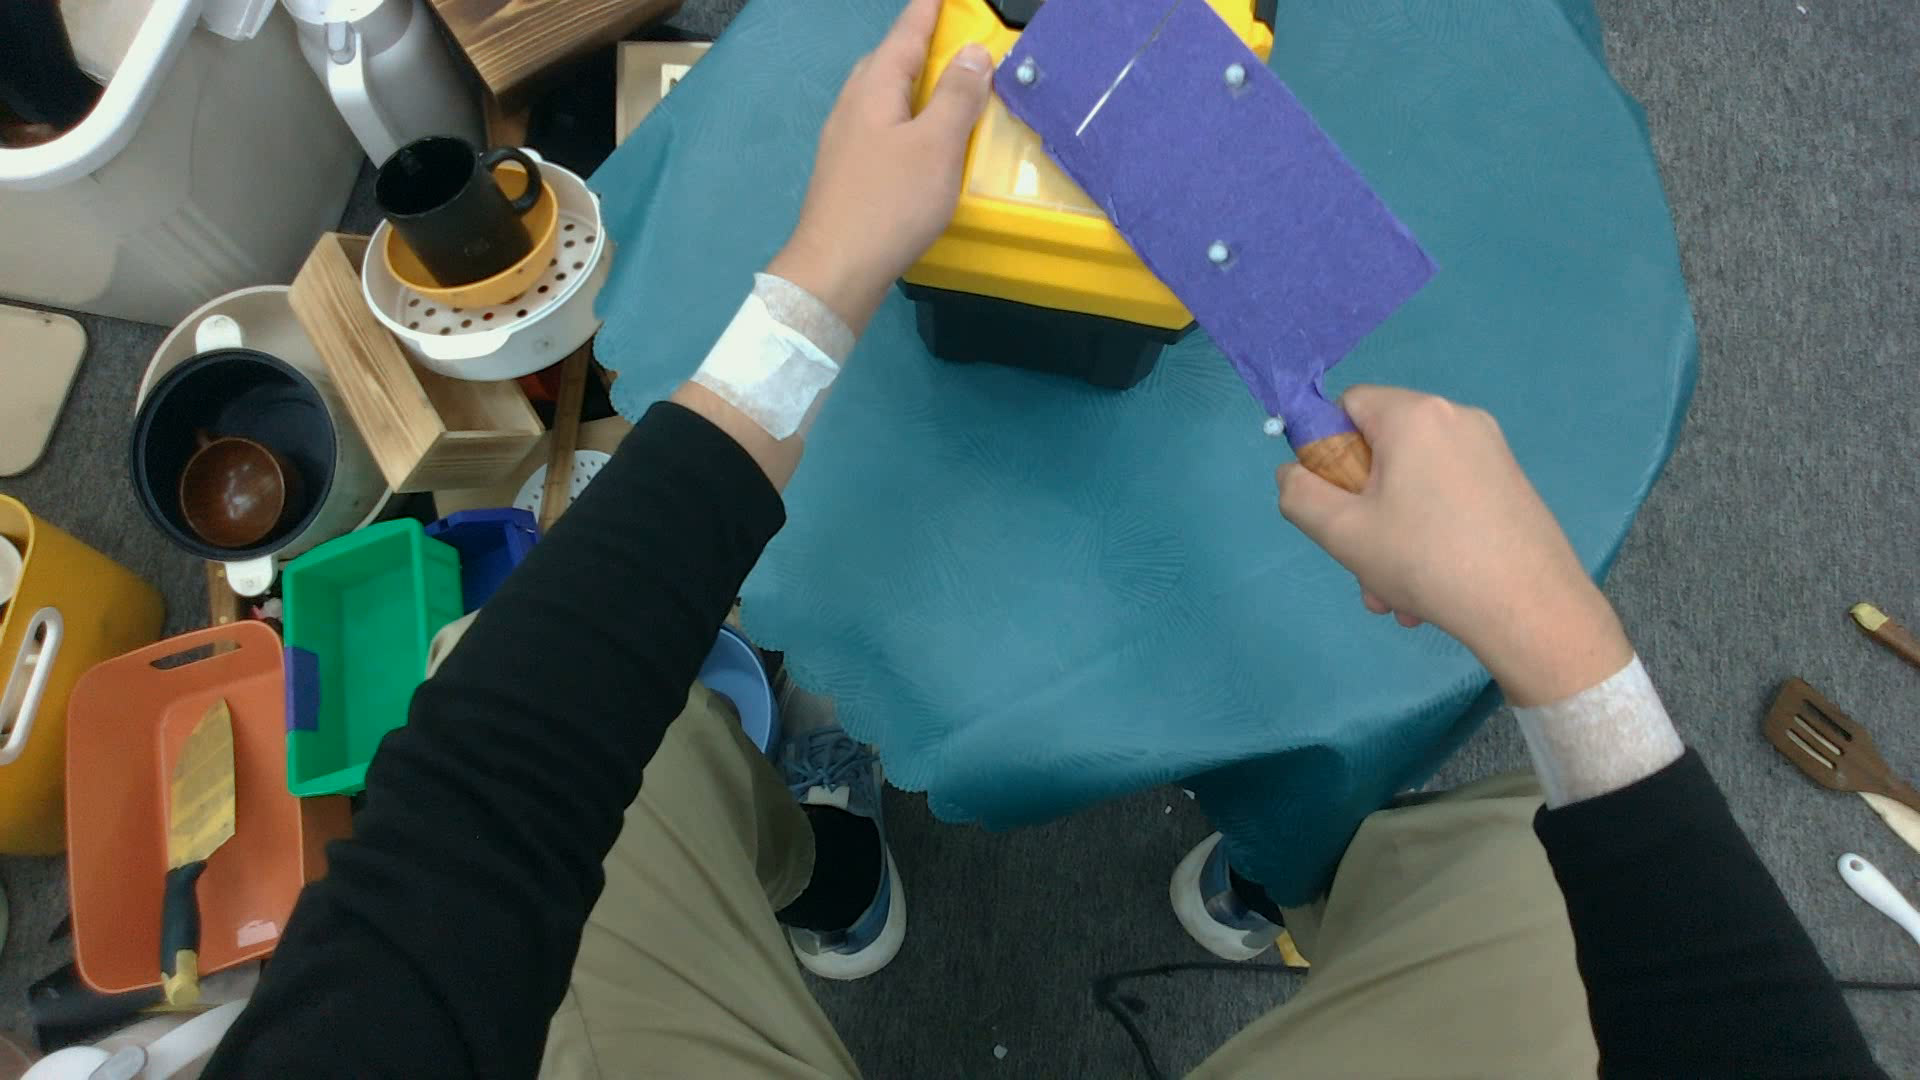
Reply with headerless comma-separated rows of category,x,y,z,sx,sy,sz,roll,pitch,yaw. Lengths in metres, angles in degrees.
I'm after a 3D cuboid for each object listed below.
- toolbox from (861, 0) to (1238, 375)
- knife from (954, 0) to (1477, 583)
toolbox,0.060,-0.272,0.739,0.181,0.172,0.352,10,73,1
knife,0.119,-0.128,0.567,0.315,0.103,0.032,51,33,10
